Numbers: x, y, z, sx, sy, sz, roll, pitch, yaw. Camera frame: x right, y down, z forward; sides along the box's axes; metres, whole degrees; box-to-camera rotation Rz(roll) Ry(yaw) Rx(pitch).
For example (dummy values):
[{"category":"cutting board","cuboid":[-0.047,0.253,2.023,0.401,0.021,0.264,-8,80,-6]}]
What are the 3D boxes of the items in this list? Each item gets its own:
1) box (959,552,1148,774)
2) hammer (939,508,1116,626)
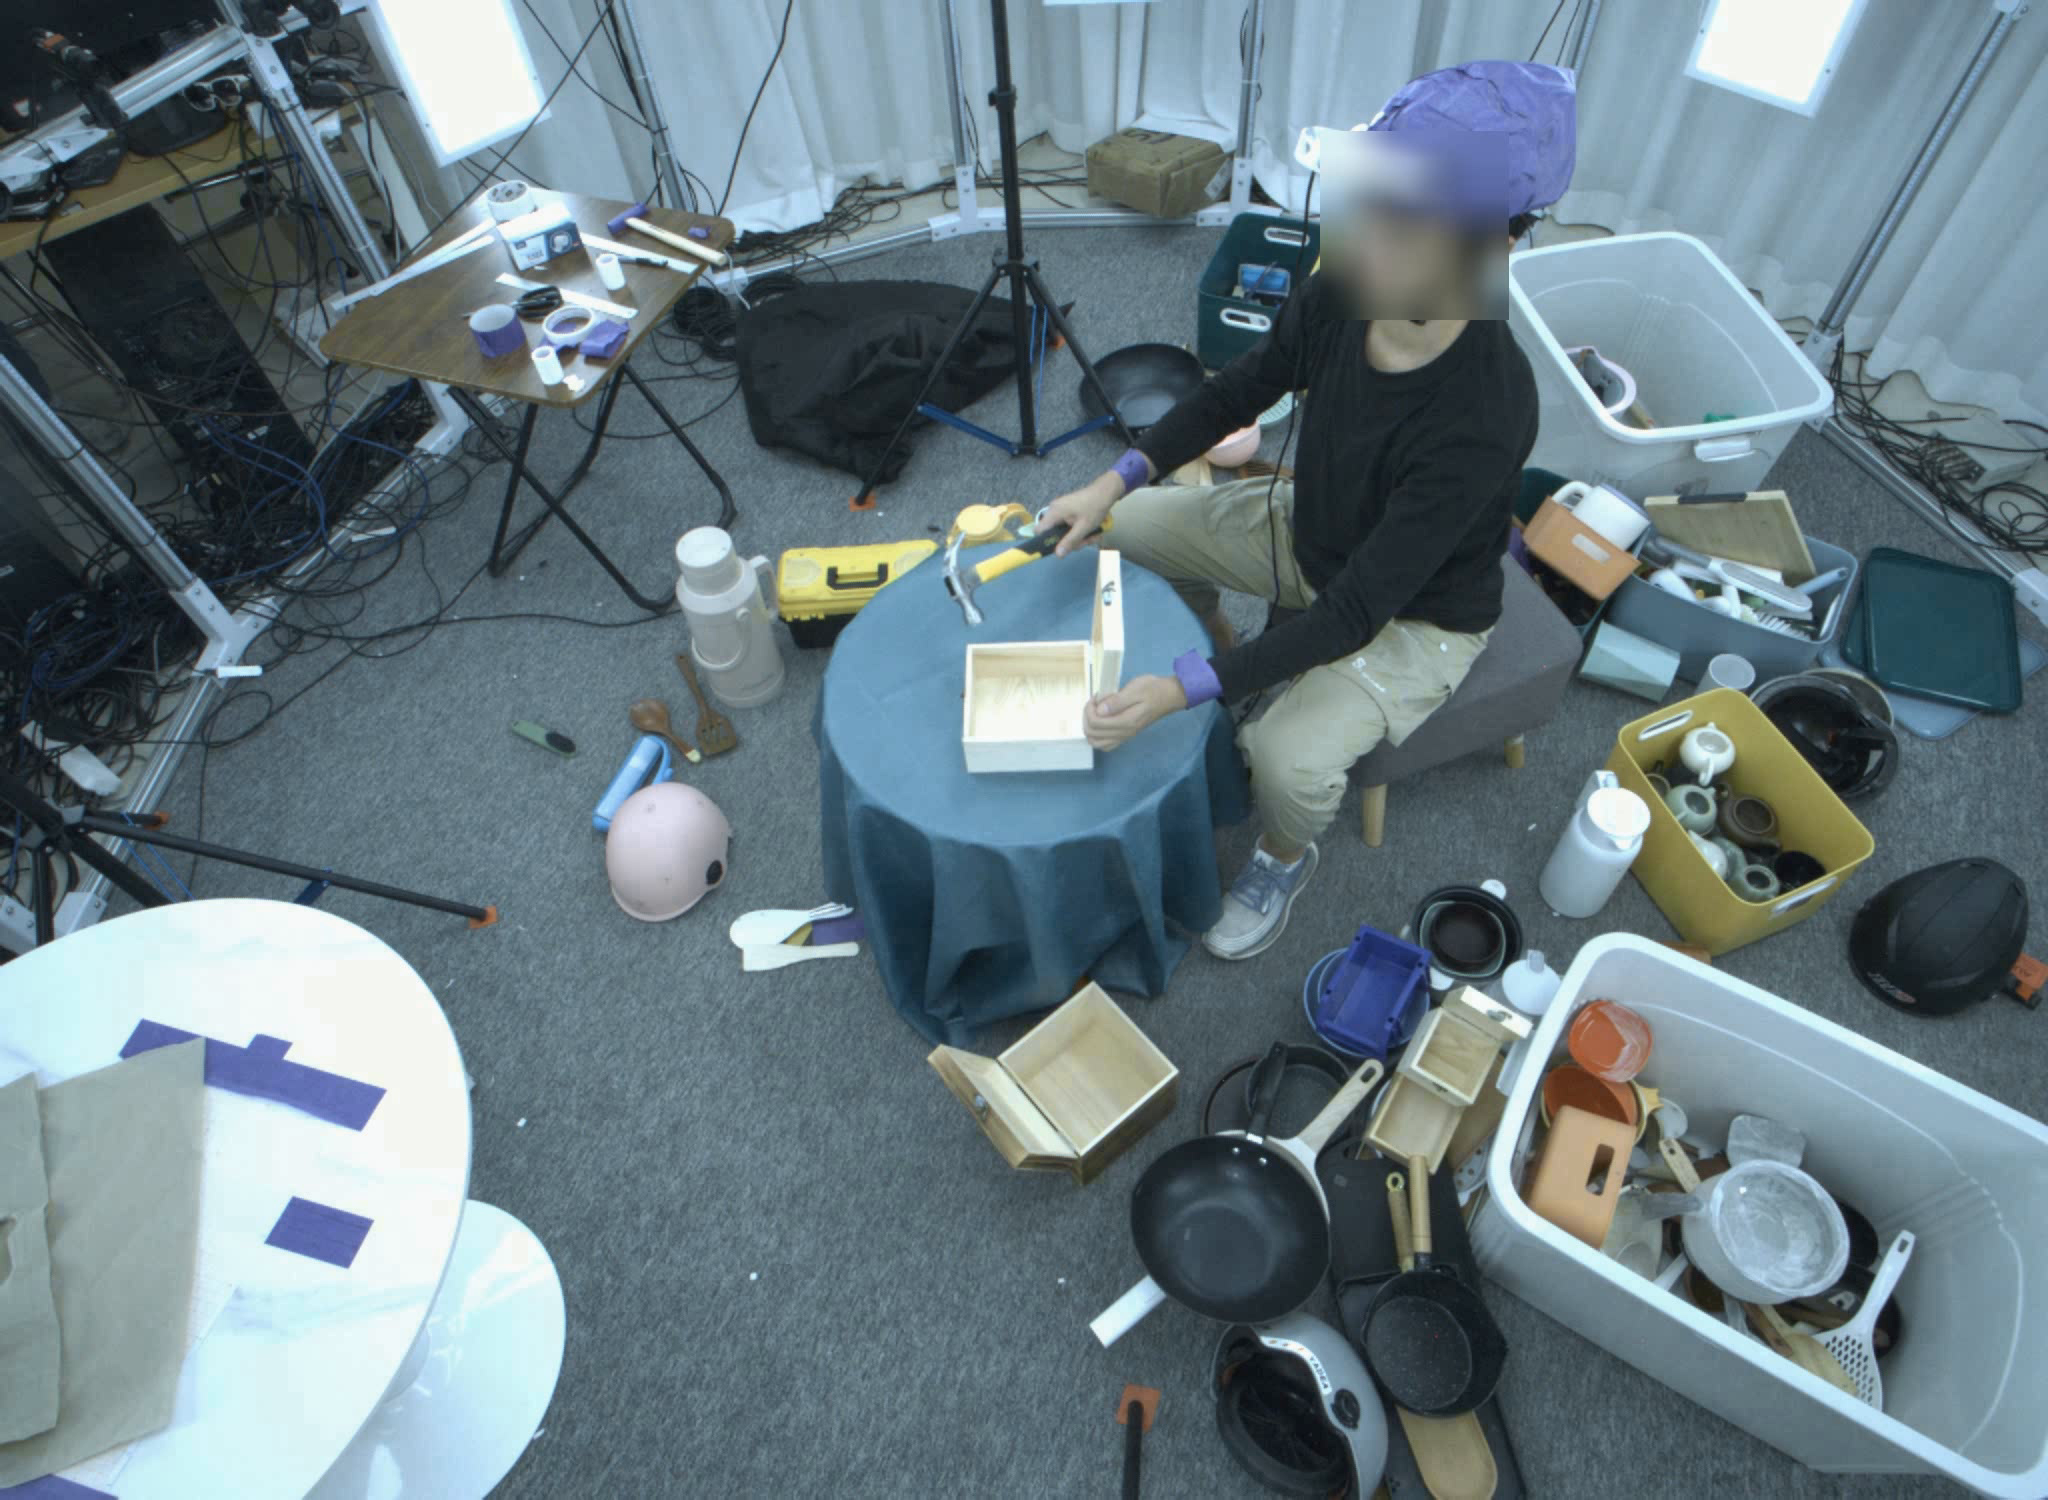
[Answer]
[{"category":"box","cuboid":[0.034,-0.118,1.711,0.265,0.256,0.180,-3,52,2]},{"category":"hammer","cuboid":[0.012,-0.306,1.876,0.343,0.032,0.132,-28,98,-34]}]
